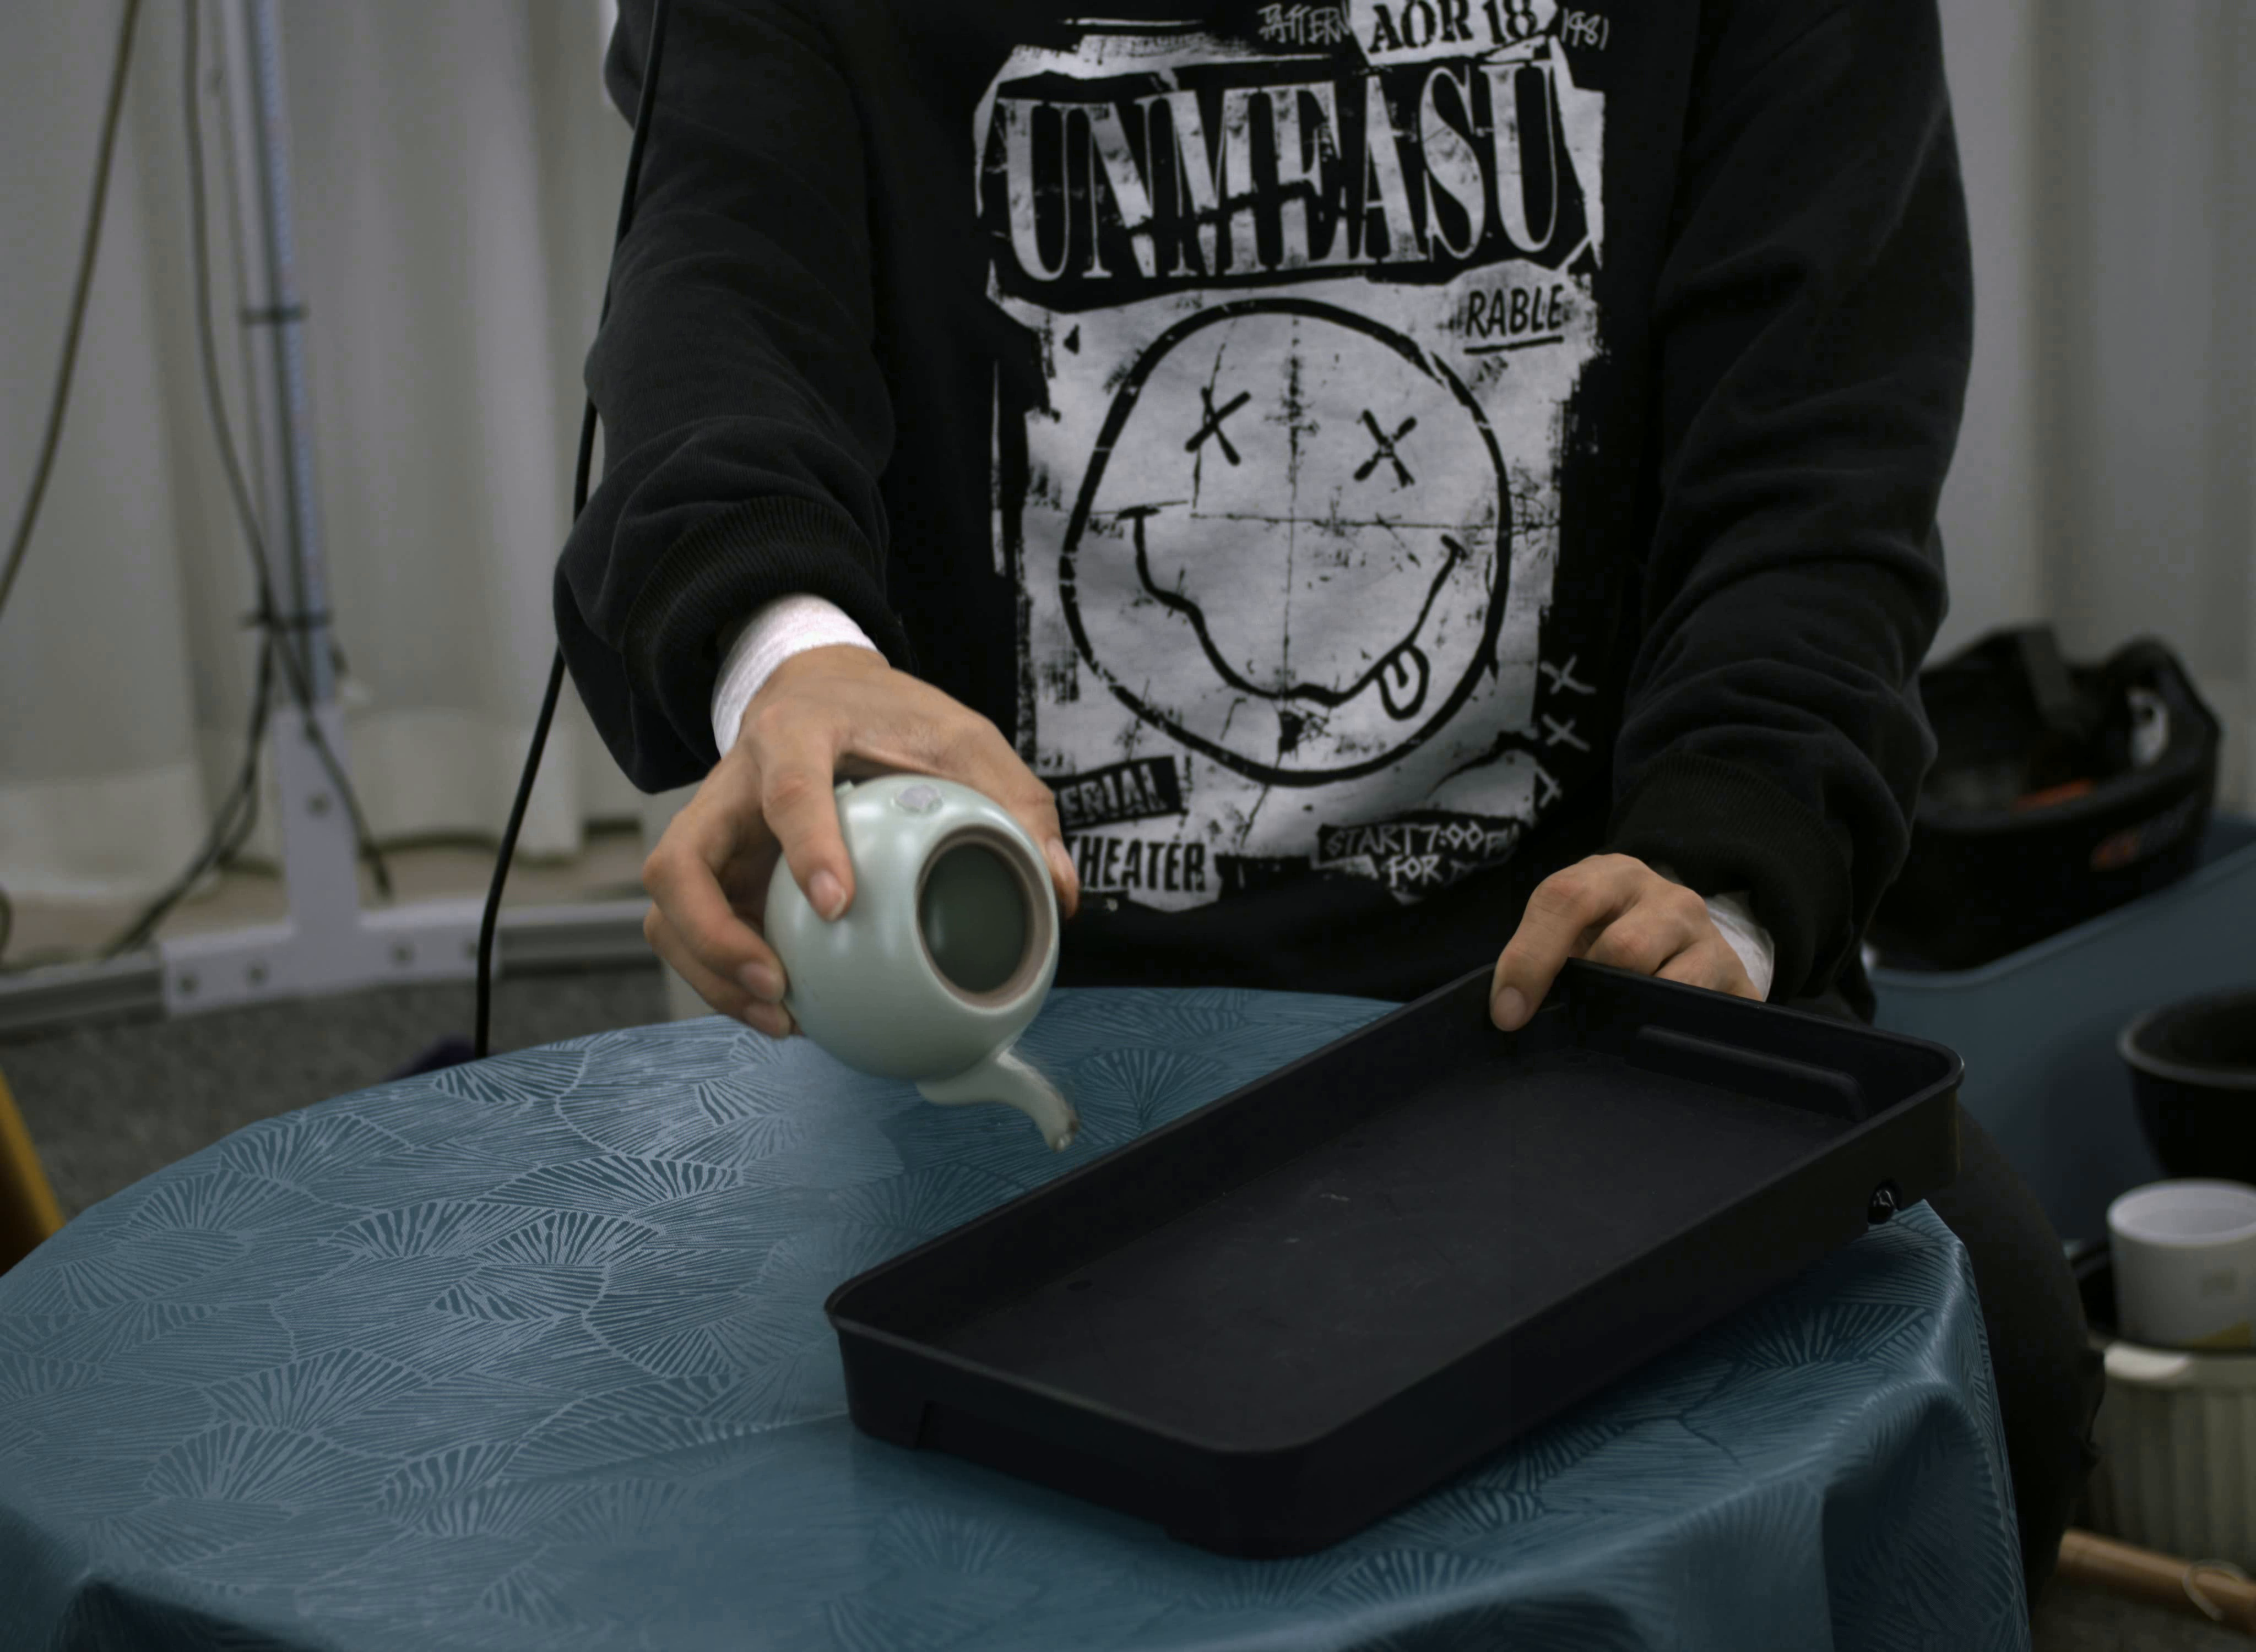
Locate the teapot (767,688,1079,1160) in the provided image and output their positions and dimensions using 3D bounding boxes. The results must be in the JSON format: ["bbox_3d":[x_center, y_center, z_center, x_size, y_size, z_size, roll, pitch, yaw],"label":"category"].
[{"bbox_3d":[-0.060,0.030,1.570,0.075,0.143,0.088,-7,13,43],"label":"teapot"}]

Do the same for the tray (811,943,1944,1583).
[{"bbox_3d":[0.077,0.117,1.562,0.185,0.037,0.318,13,28,41],"label":"tray"}]
